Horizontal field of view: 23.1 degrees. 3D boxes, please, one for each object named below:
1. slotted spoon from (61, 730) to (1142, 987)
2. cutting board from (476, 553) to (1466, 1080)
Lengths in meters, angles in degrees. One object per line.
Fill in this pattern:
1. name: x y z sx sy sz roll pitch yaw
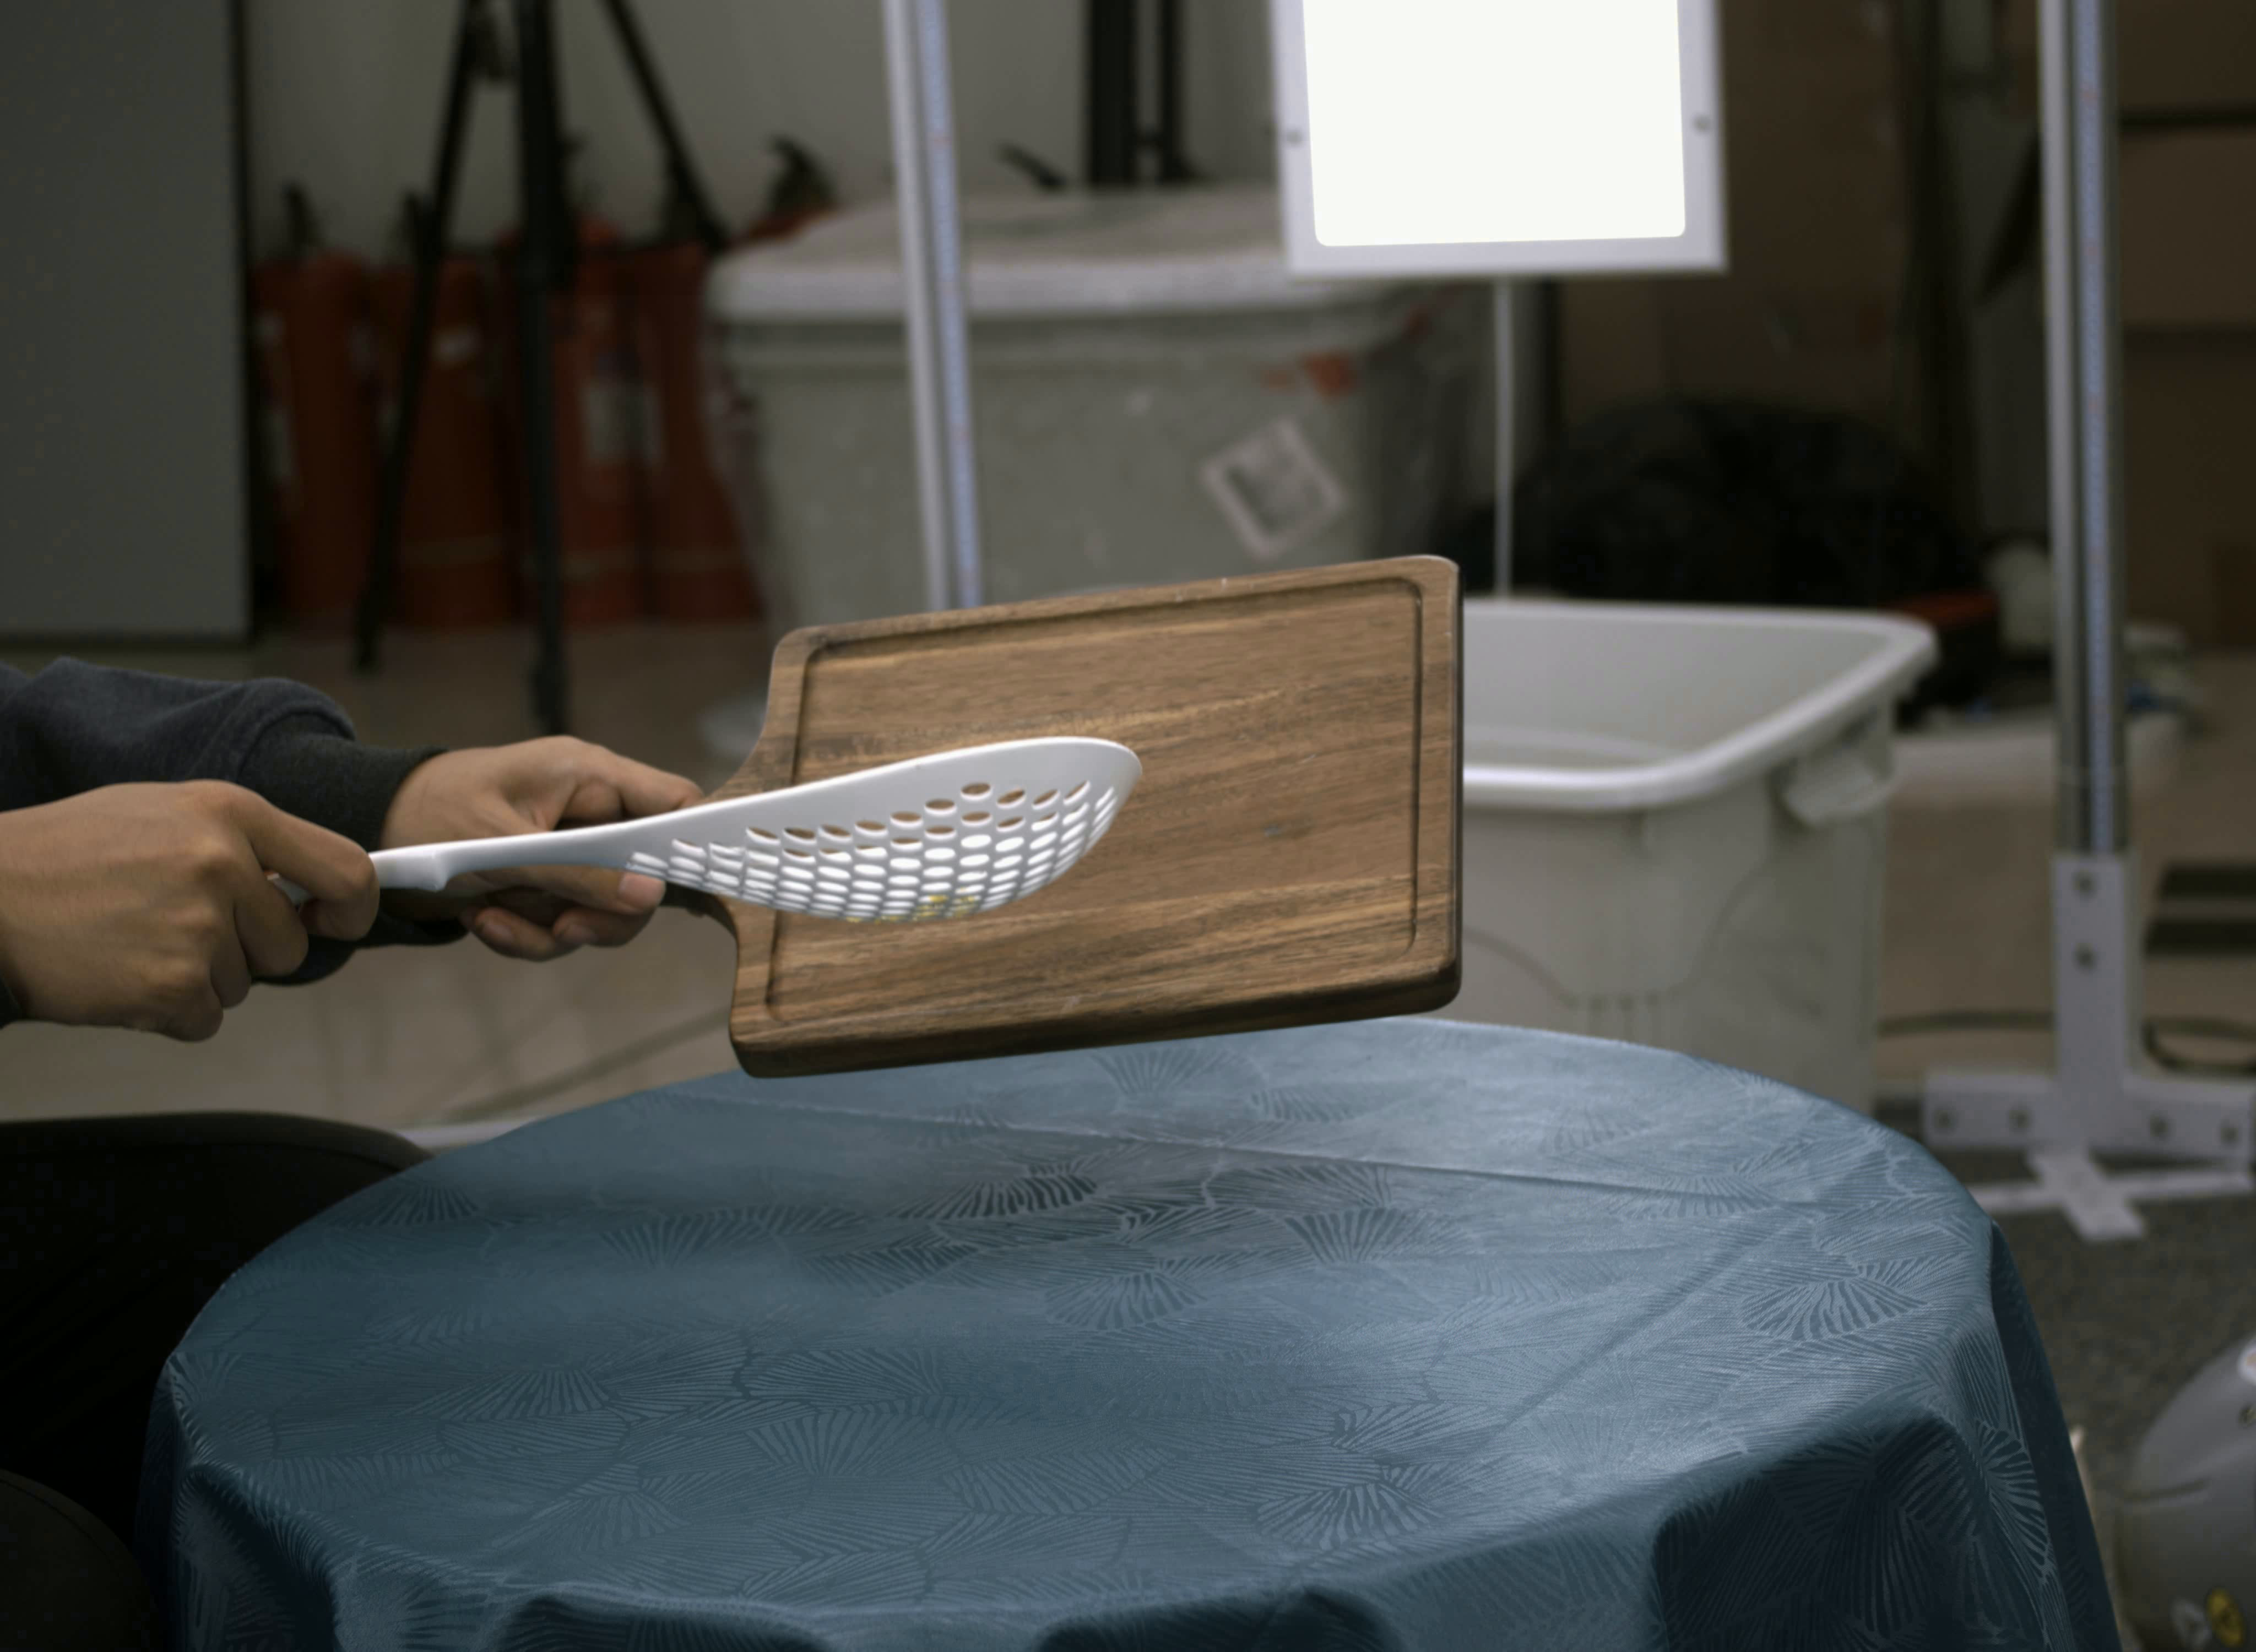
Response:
1. slotted spoon: -0.163 0.016 1.742 0.343 0.050 0.138 -4 -11 -12
2. cutting board: -0.057 0.000 1.912 0.355 0.023 0.200 -7 48 13
